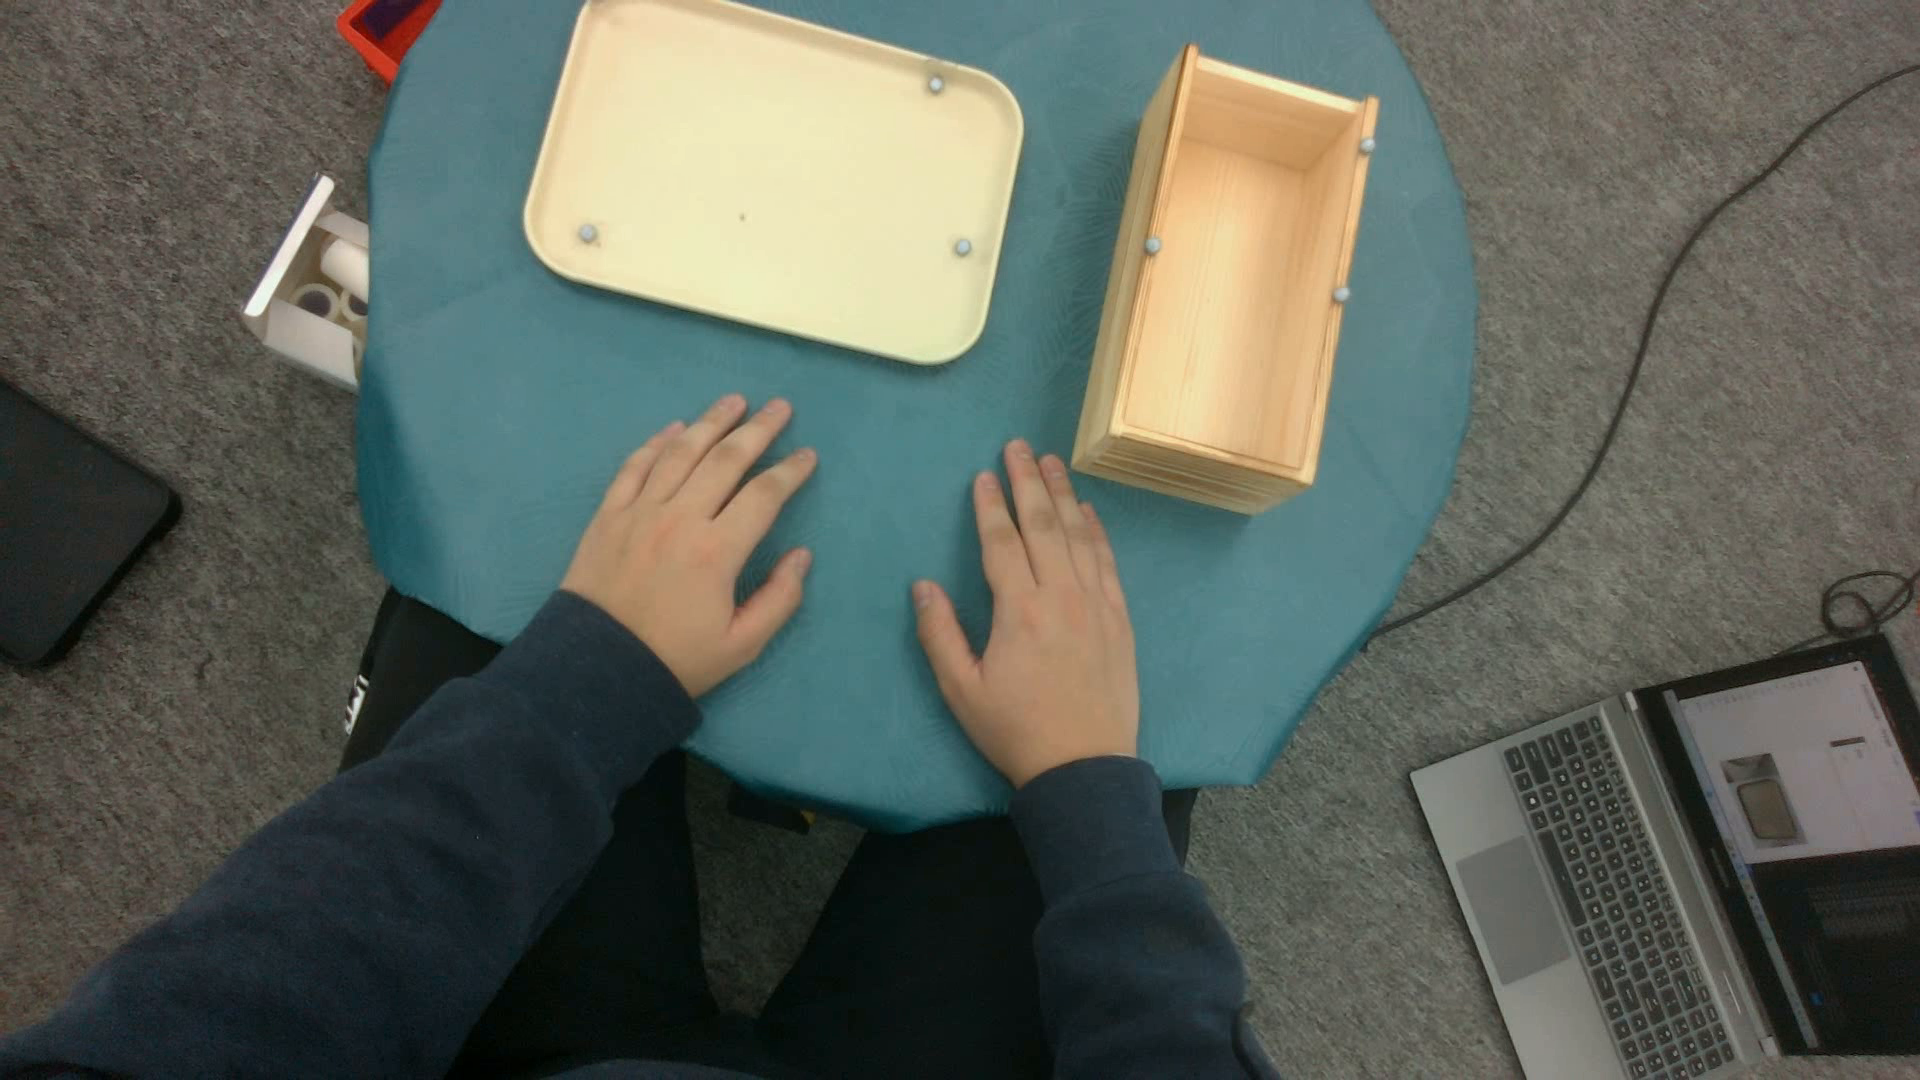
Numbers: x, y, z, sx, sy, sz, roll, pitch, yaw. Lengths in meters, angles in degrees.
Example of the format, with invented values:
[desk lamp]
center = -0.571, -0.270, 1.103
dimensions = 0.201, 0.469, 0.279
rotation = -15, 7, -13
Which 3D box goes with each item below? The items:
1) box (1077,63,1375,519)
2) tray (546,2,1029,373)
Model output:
[box]
center = 0.140, -0.130, 0.734
dimensions = 0.107, 0.080, 0.212
rotation = 13, 77, -5
[tray]
center = -0.089, -0.188, 0.741
dimensions = 0.240, 0.017, 0.171
rotation = 13, 78, -6
